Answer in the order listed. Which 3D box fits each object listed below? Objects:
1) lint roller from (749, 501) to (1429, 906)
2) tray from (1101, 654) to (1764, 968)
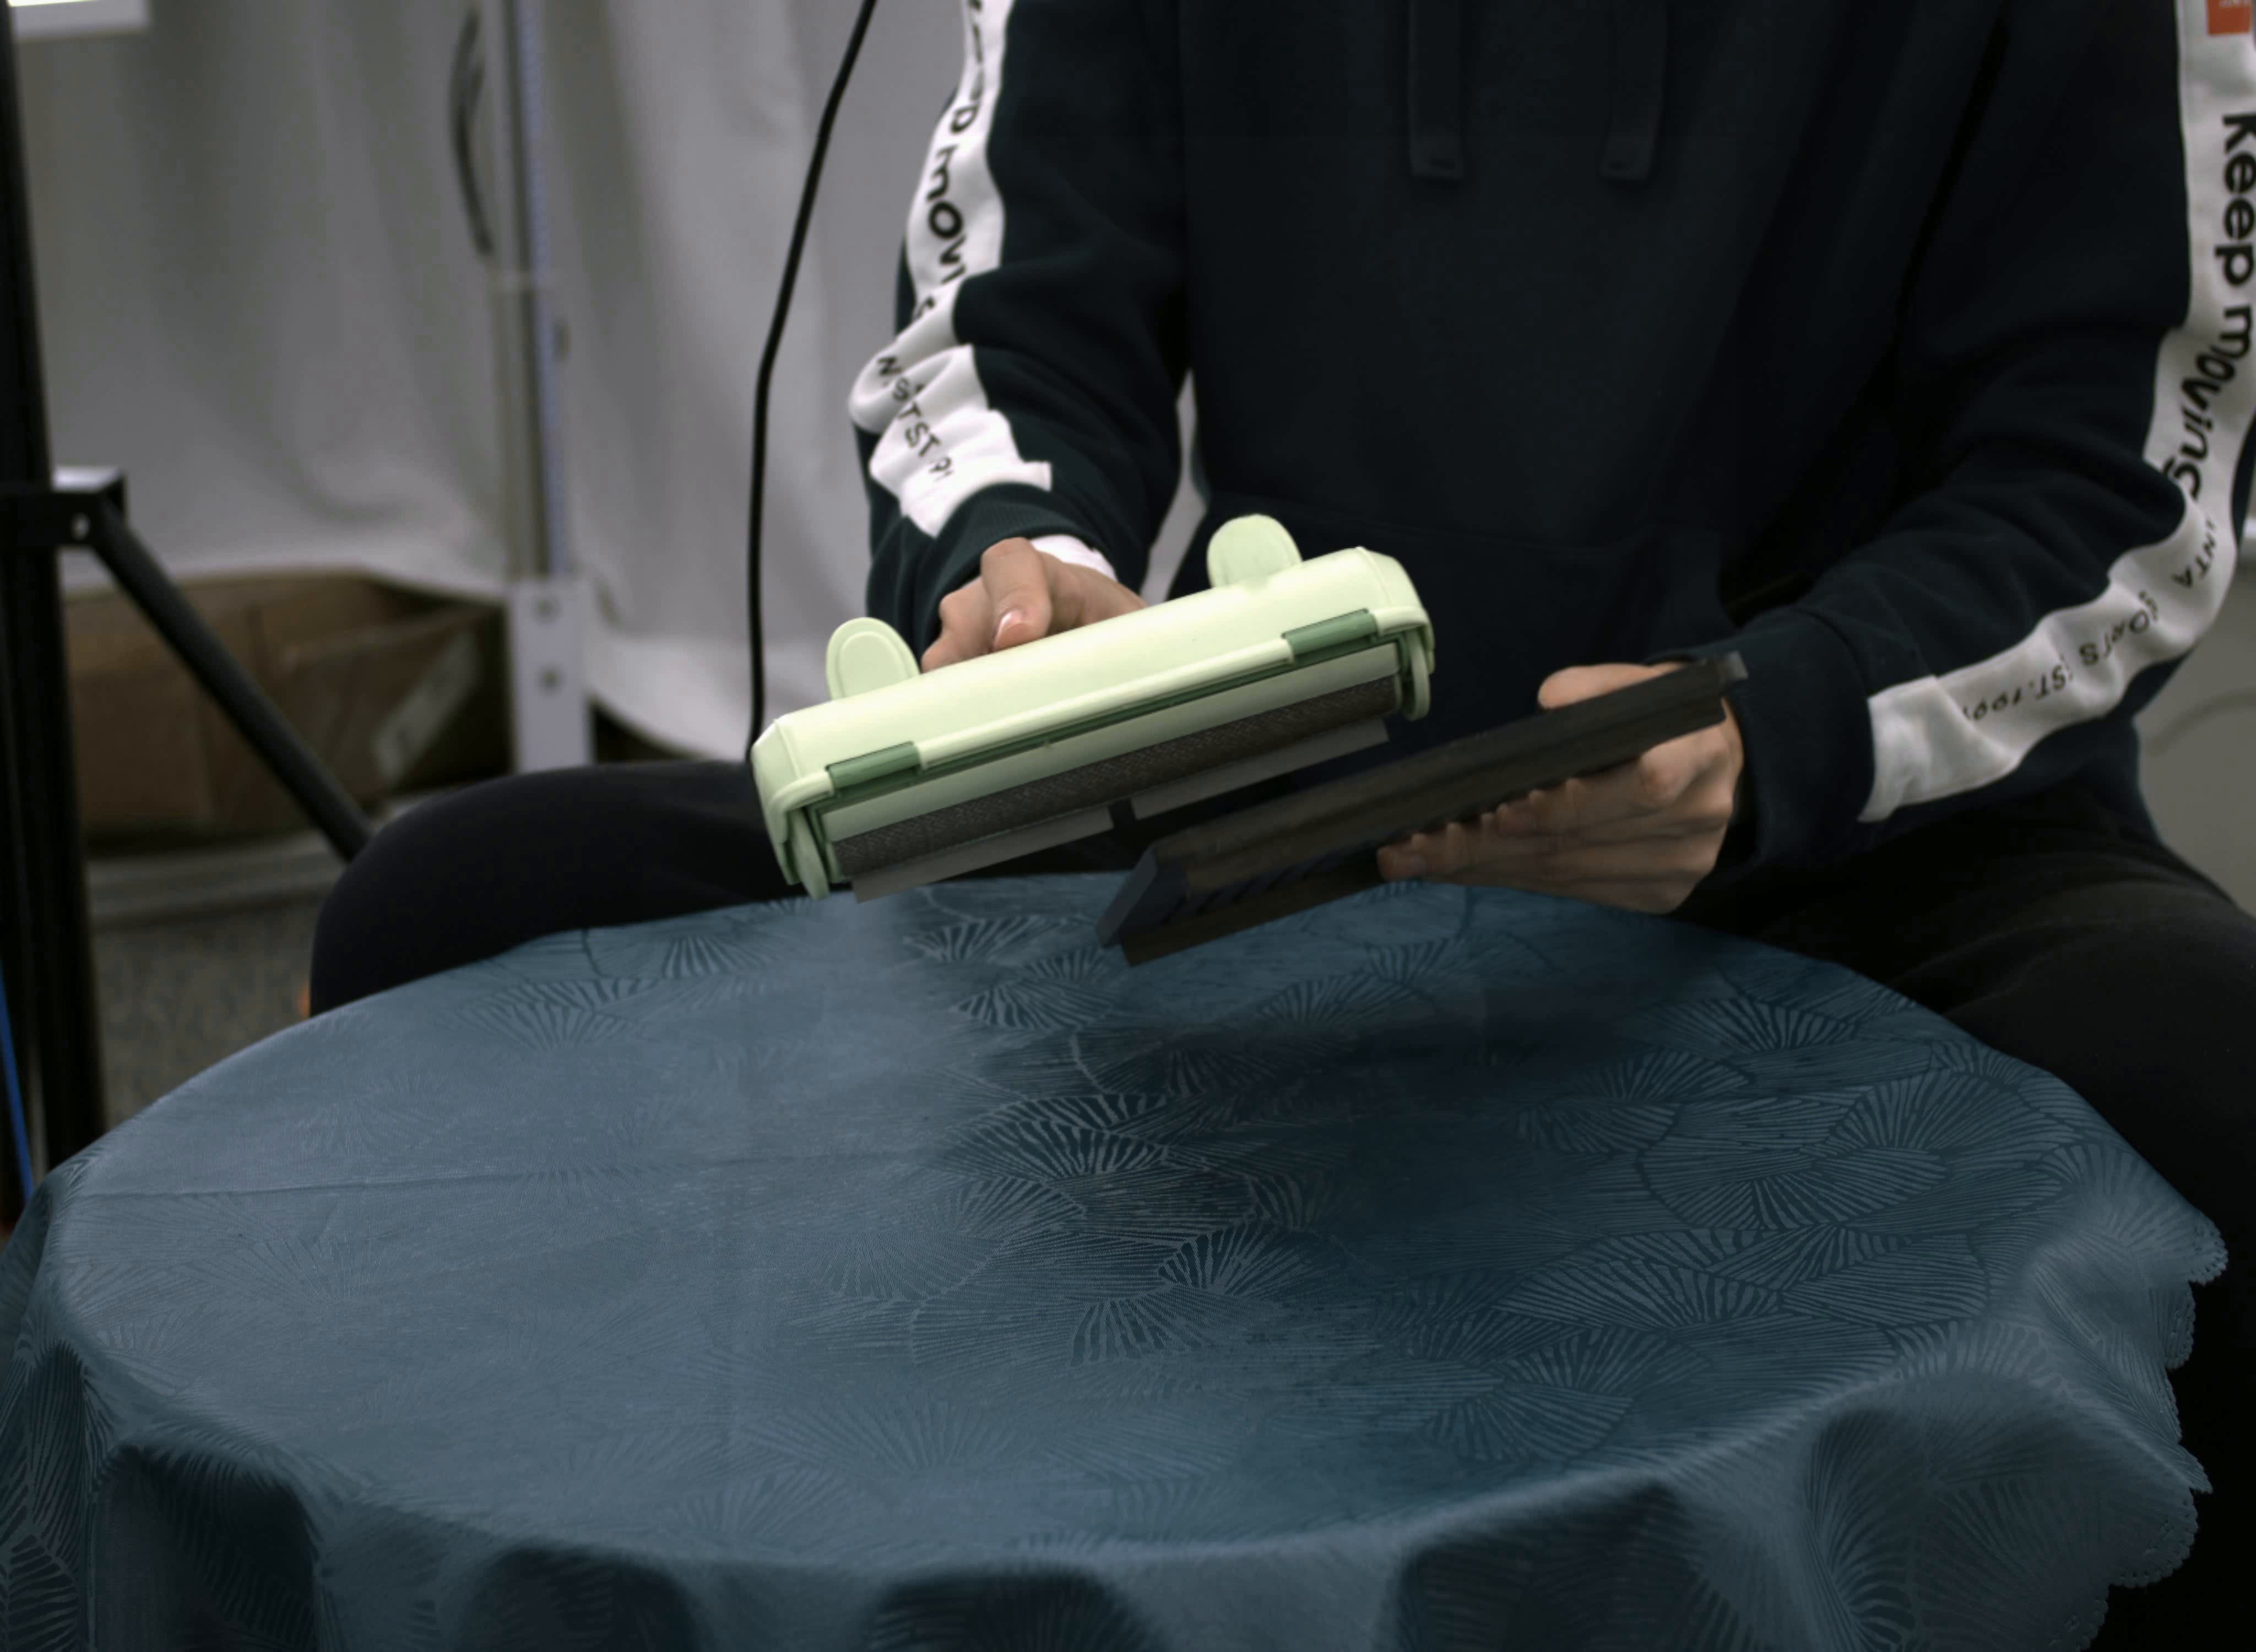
[{"bbox_3d":[-0.022,-0.044,1.582,0.197,0.082,0.185,-17,11,-6],"label":"lint roller"},{"bbox_3d":[0.082,0.002,1.553,0.169,0.019,0.306,-18,-4,-4],"label":"tray"}]
